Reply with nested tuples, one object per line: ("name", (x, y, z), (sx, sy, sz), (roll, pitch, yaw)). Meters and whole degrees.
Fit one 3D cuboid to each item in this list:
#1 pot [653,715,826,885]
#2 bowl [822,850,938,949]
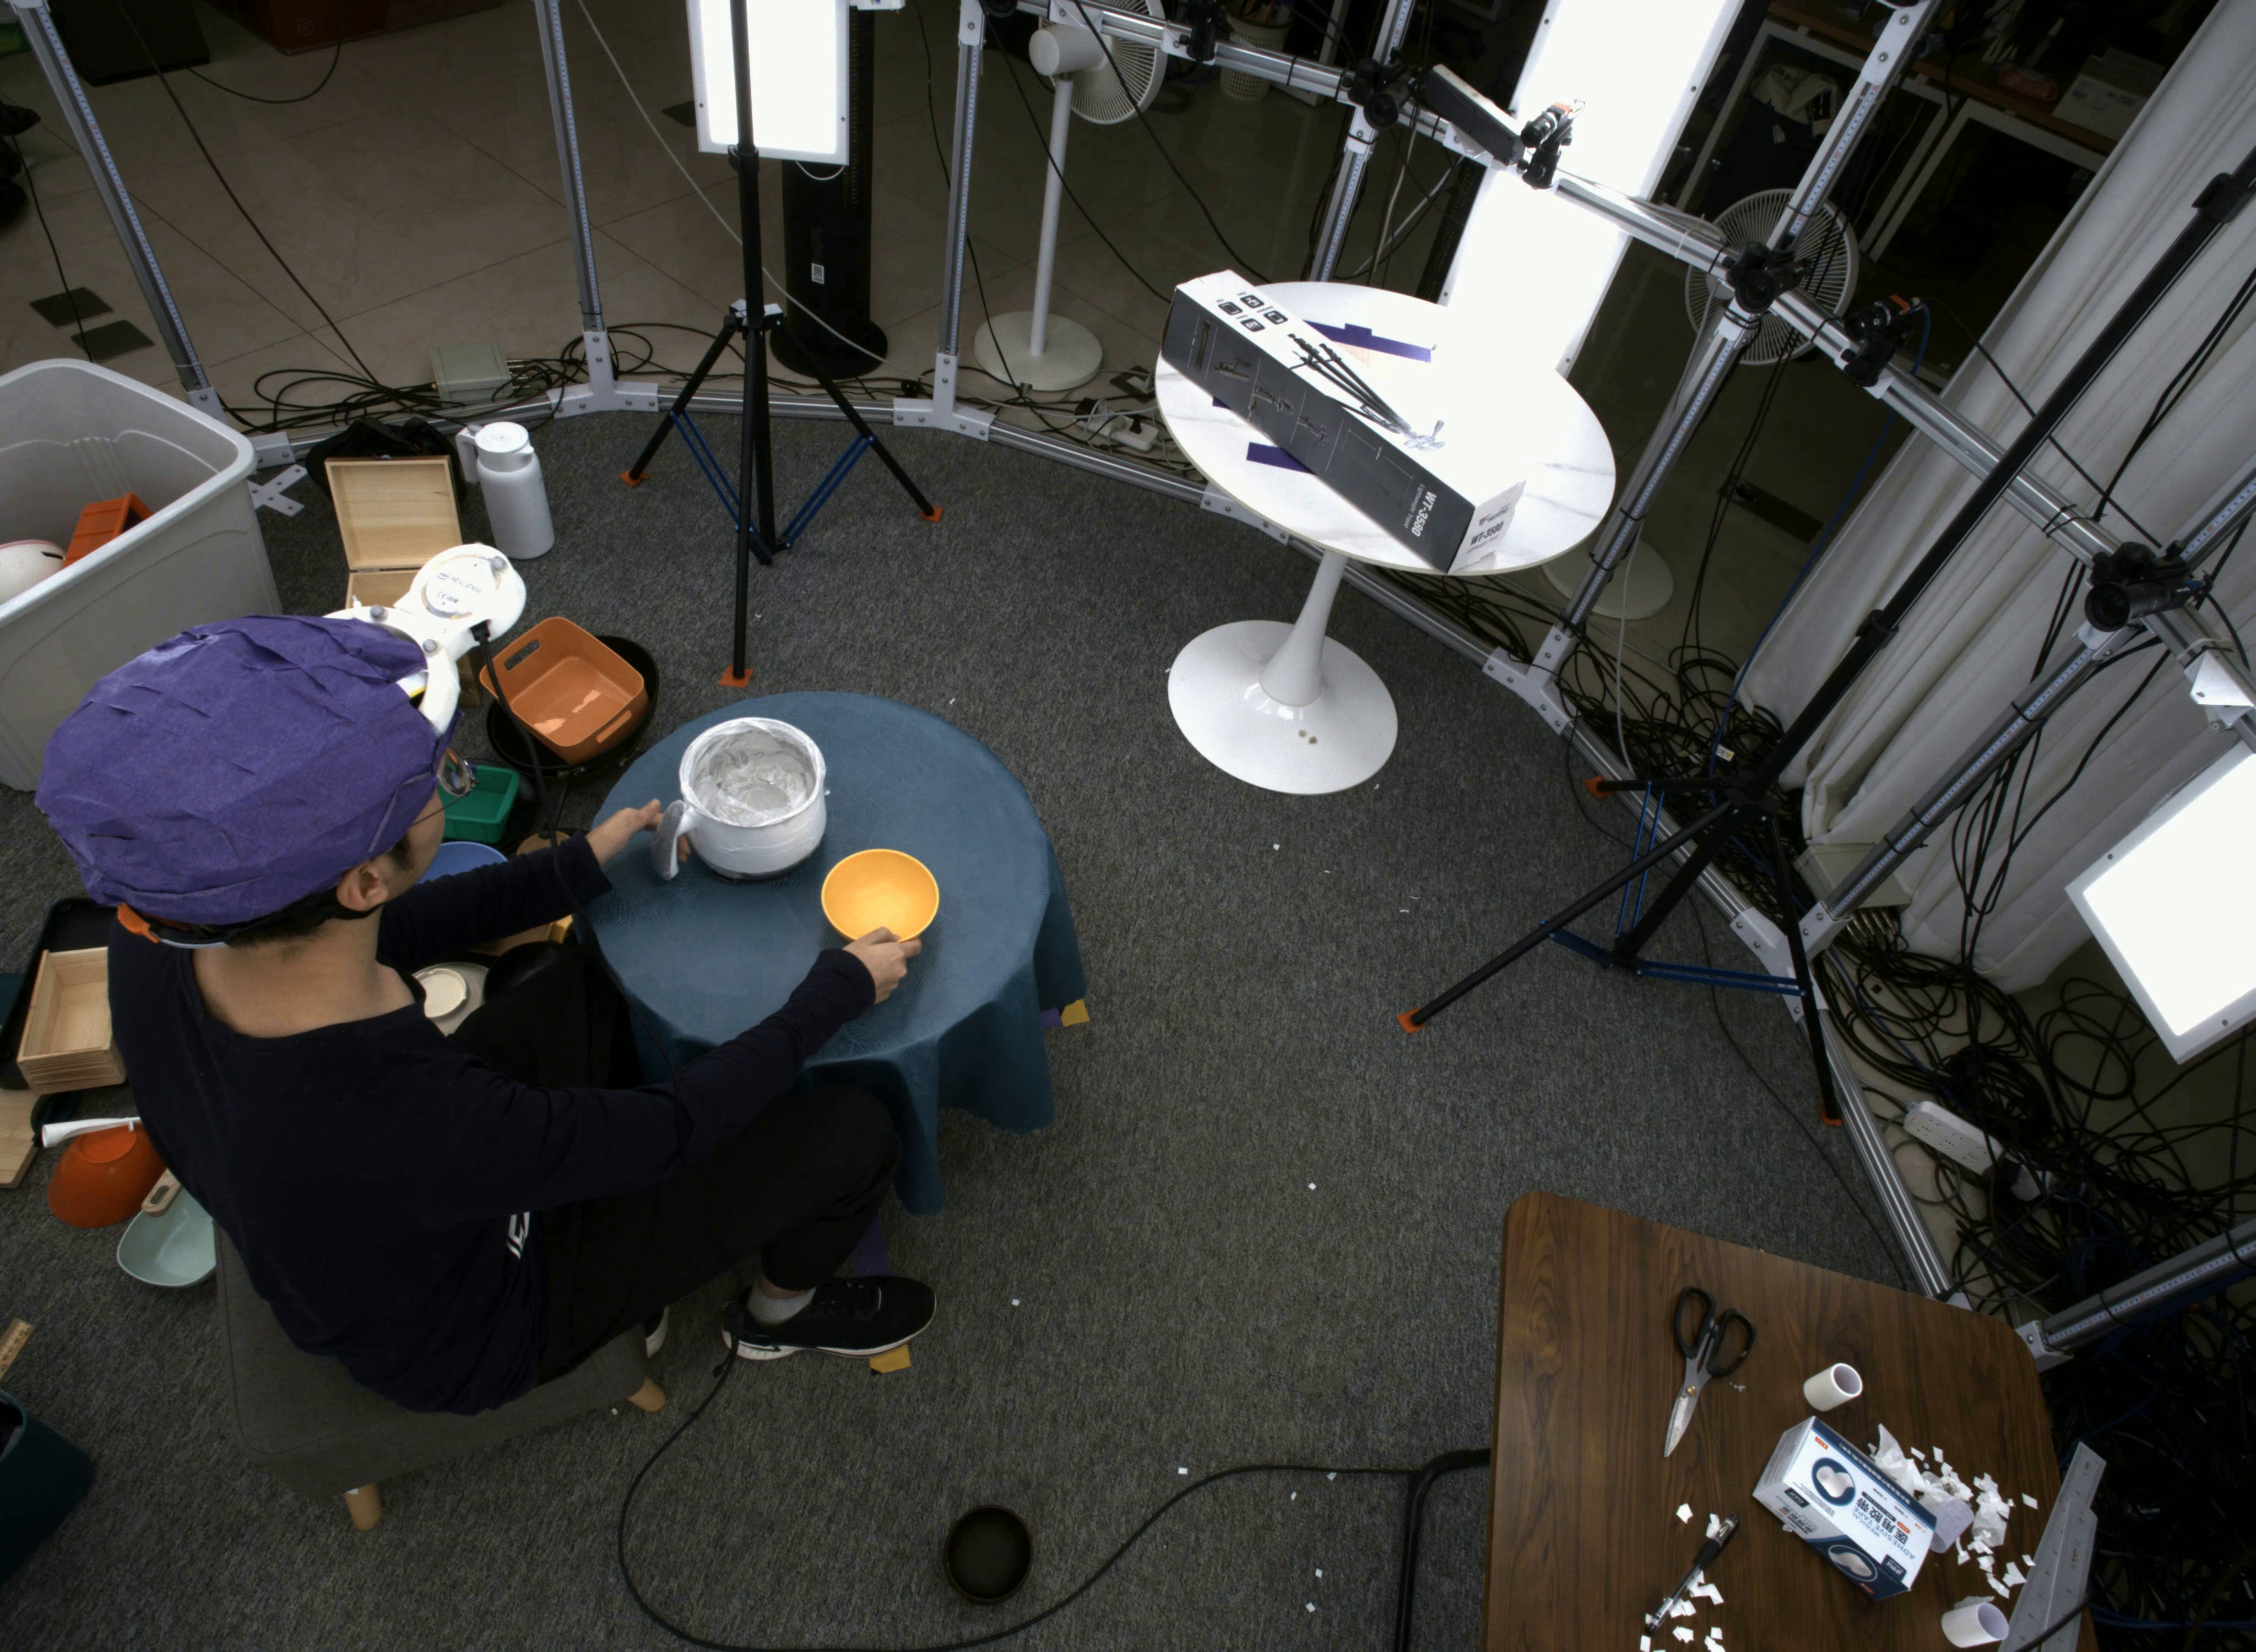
("pot", (-0.499, -0.019, 1.644), (0.234, 0.139, 0.174), (-33, 66, -30))
("bowl", (-0.314, 0.103, 1.647), (0.145, 0.061, 0.142), (8, 50, -8))
